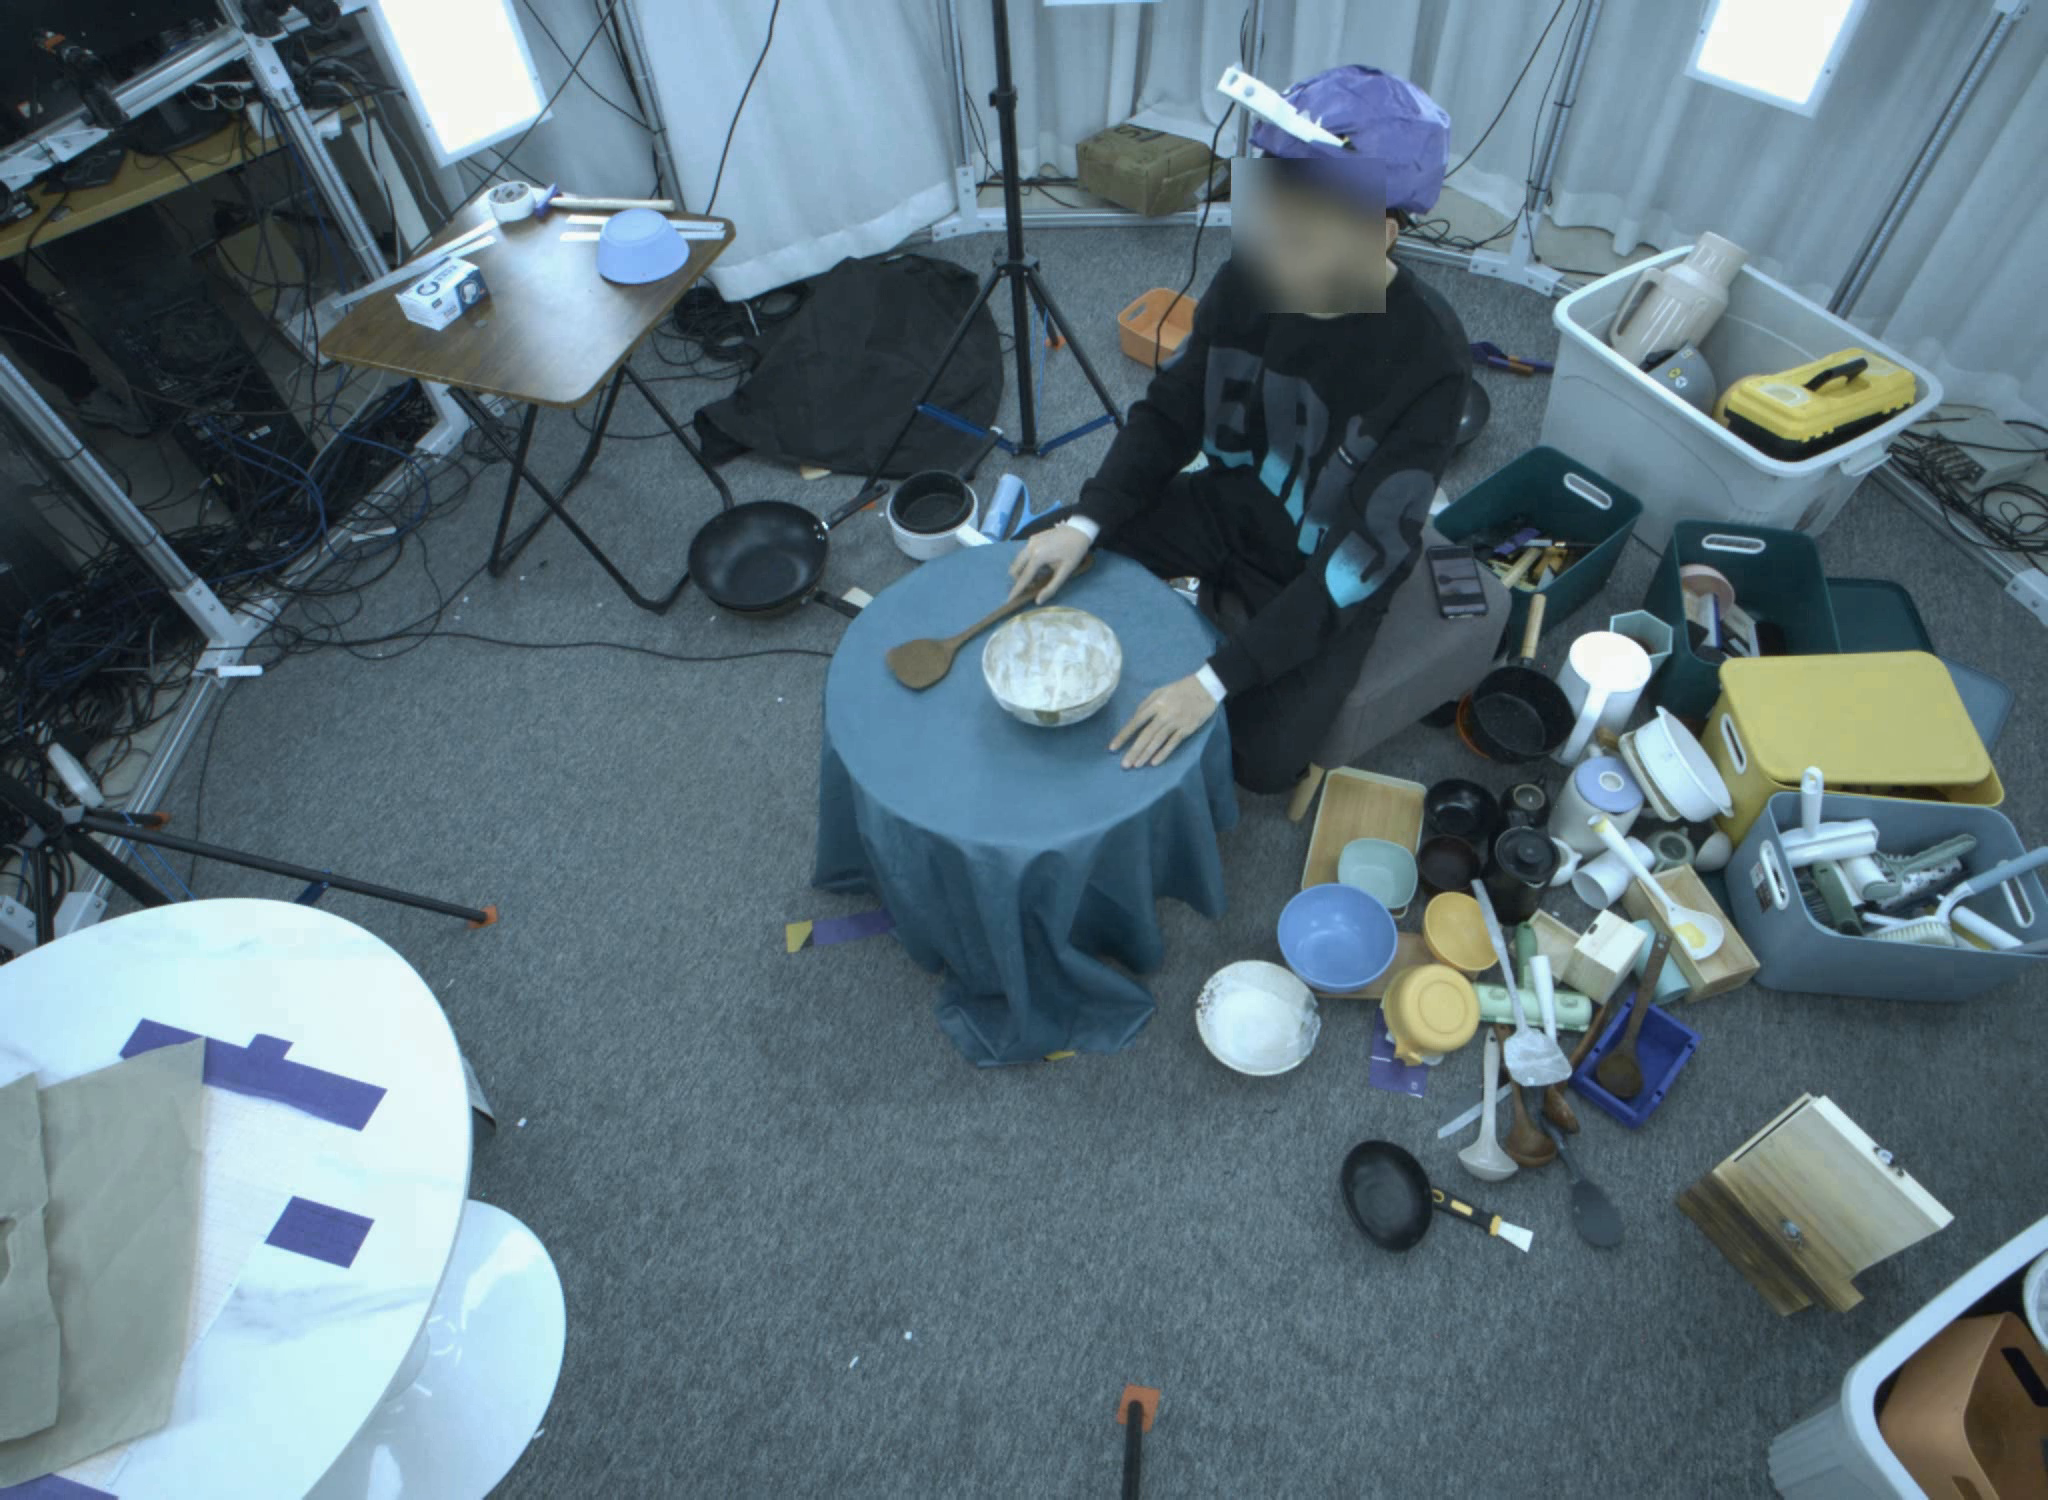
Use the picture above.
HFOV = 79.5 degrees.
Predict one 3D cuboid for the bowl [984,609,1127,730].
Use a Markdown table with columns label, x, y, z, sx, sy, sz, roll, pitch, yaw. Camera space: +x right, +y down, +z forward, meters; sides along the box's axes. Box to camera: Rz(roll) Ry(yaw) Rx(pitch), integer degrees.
| label | x | y | z | sx | sy | sz | roll | pitch | yaw |
| --- | --- | --- | --- | --- | --- | --- | --- | --- | --- |
| bowl | 0.048 | -0.102 | 1.812 | 0.214 | 0.095 | 0.212 | 0 | 52 | 1 |

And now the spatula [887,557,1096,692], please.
| label | x | y | z | sx | sy | sz | roll | pitch | yaw |
| --- | --- | --- | --- | --- | --- | --- | --- | --- | --- |
| spatula | -0.041 | -0.209 | 1.932 | 0.388 | 0.016 | 0.094 | -34 | 60 | -17 |
